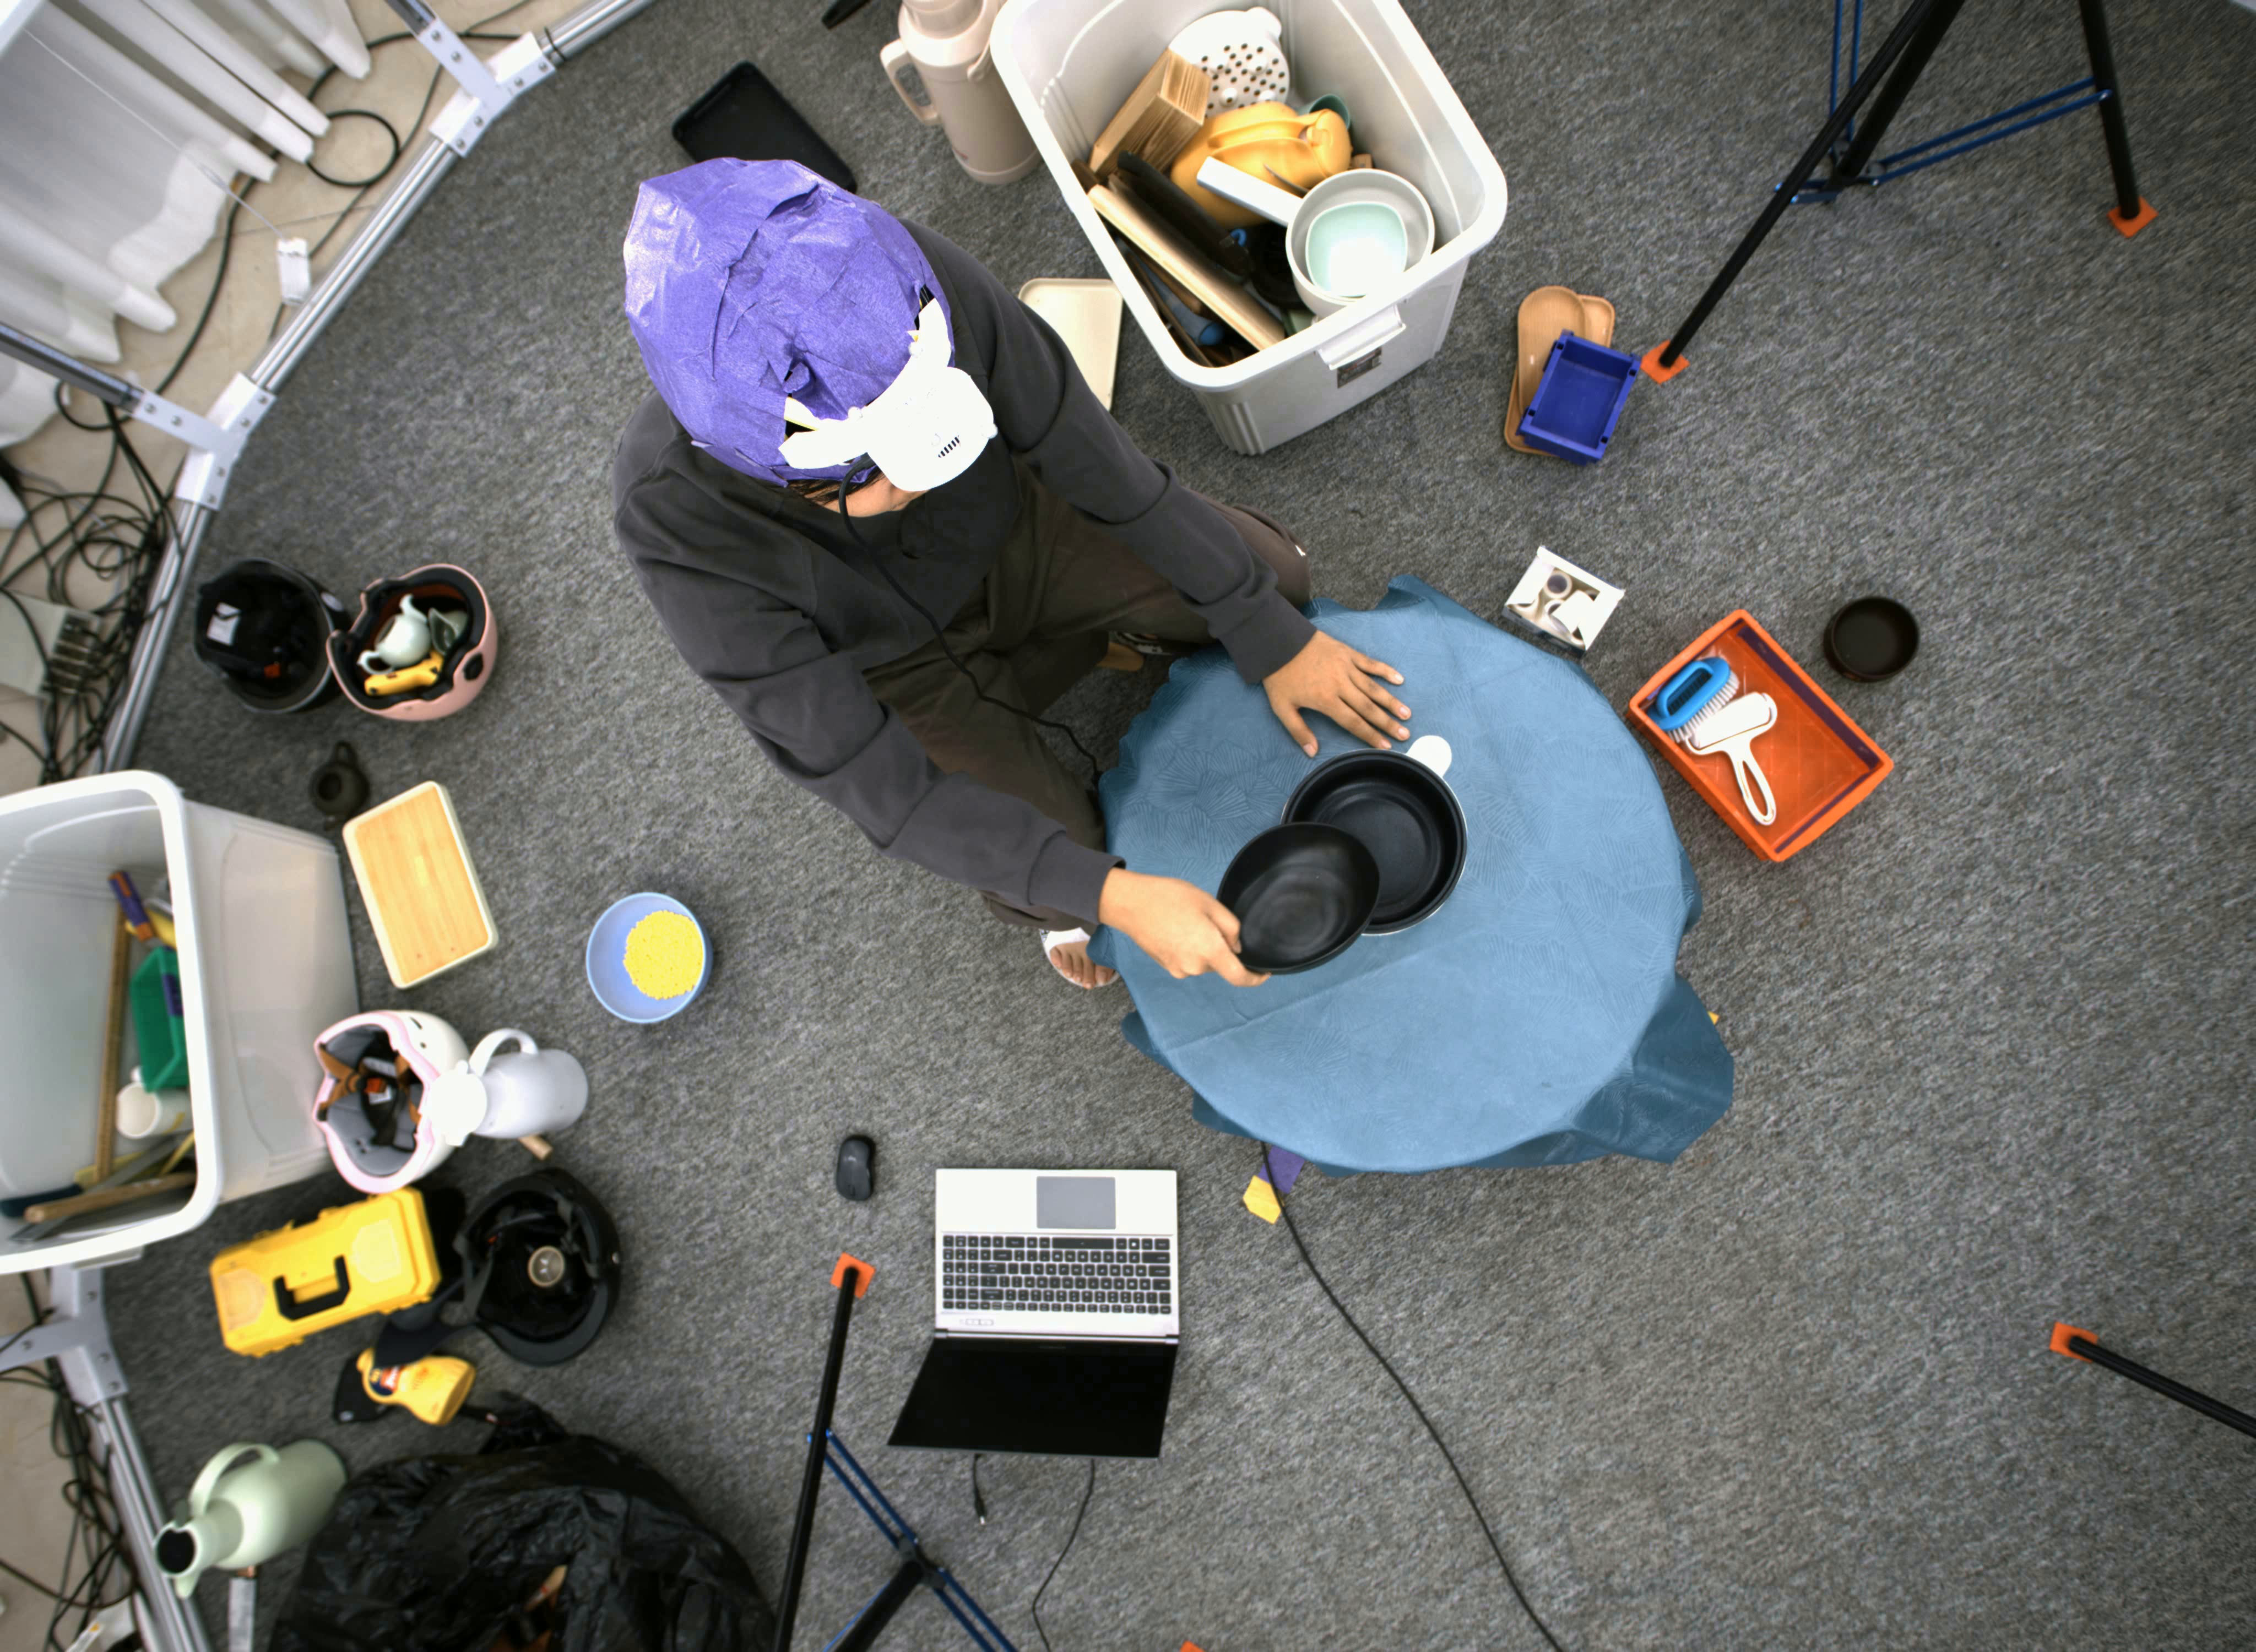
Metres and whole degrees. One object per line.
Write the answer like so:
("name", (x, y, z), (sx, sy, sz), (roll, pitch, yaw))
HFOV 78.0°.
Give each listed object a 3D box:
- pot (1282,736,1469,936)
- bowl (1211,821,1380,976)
("pot", (0.243, 0.020, 1.399), (0.190, 0.143, 0.240), (33, 91, 8))
("bowl", (0.153, 0.076, 1.267), (0.136, 0.068, 0.168), (36, 69, 26))
